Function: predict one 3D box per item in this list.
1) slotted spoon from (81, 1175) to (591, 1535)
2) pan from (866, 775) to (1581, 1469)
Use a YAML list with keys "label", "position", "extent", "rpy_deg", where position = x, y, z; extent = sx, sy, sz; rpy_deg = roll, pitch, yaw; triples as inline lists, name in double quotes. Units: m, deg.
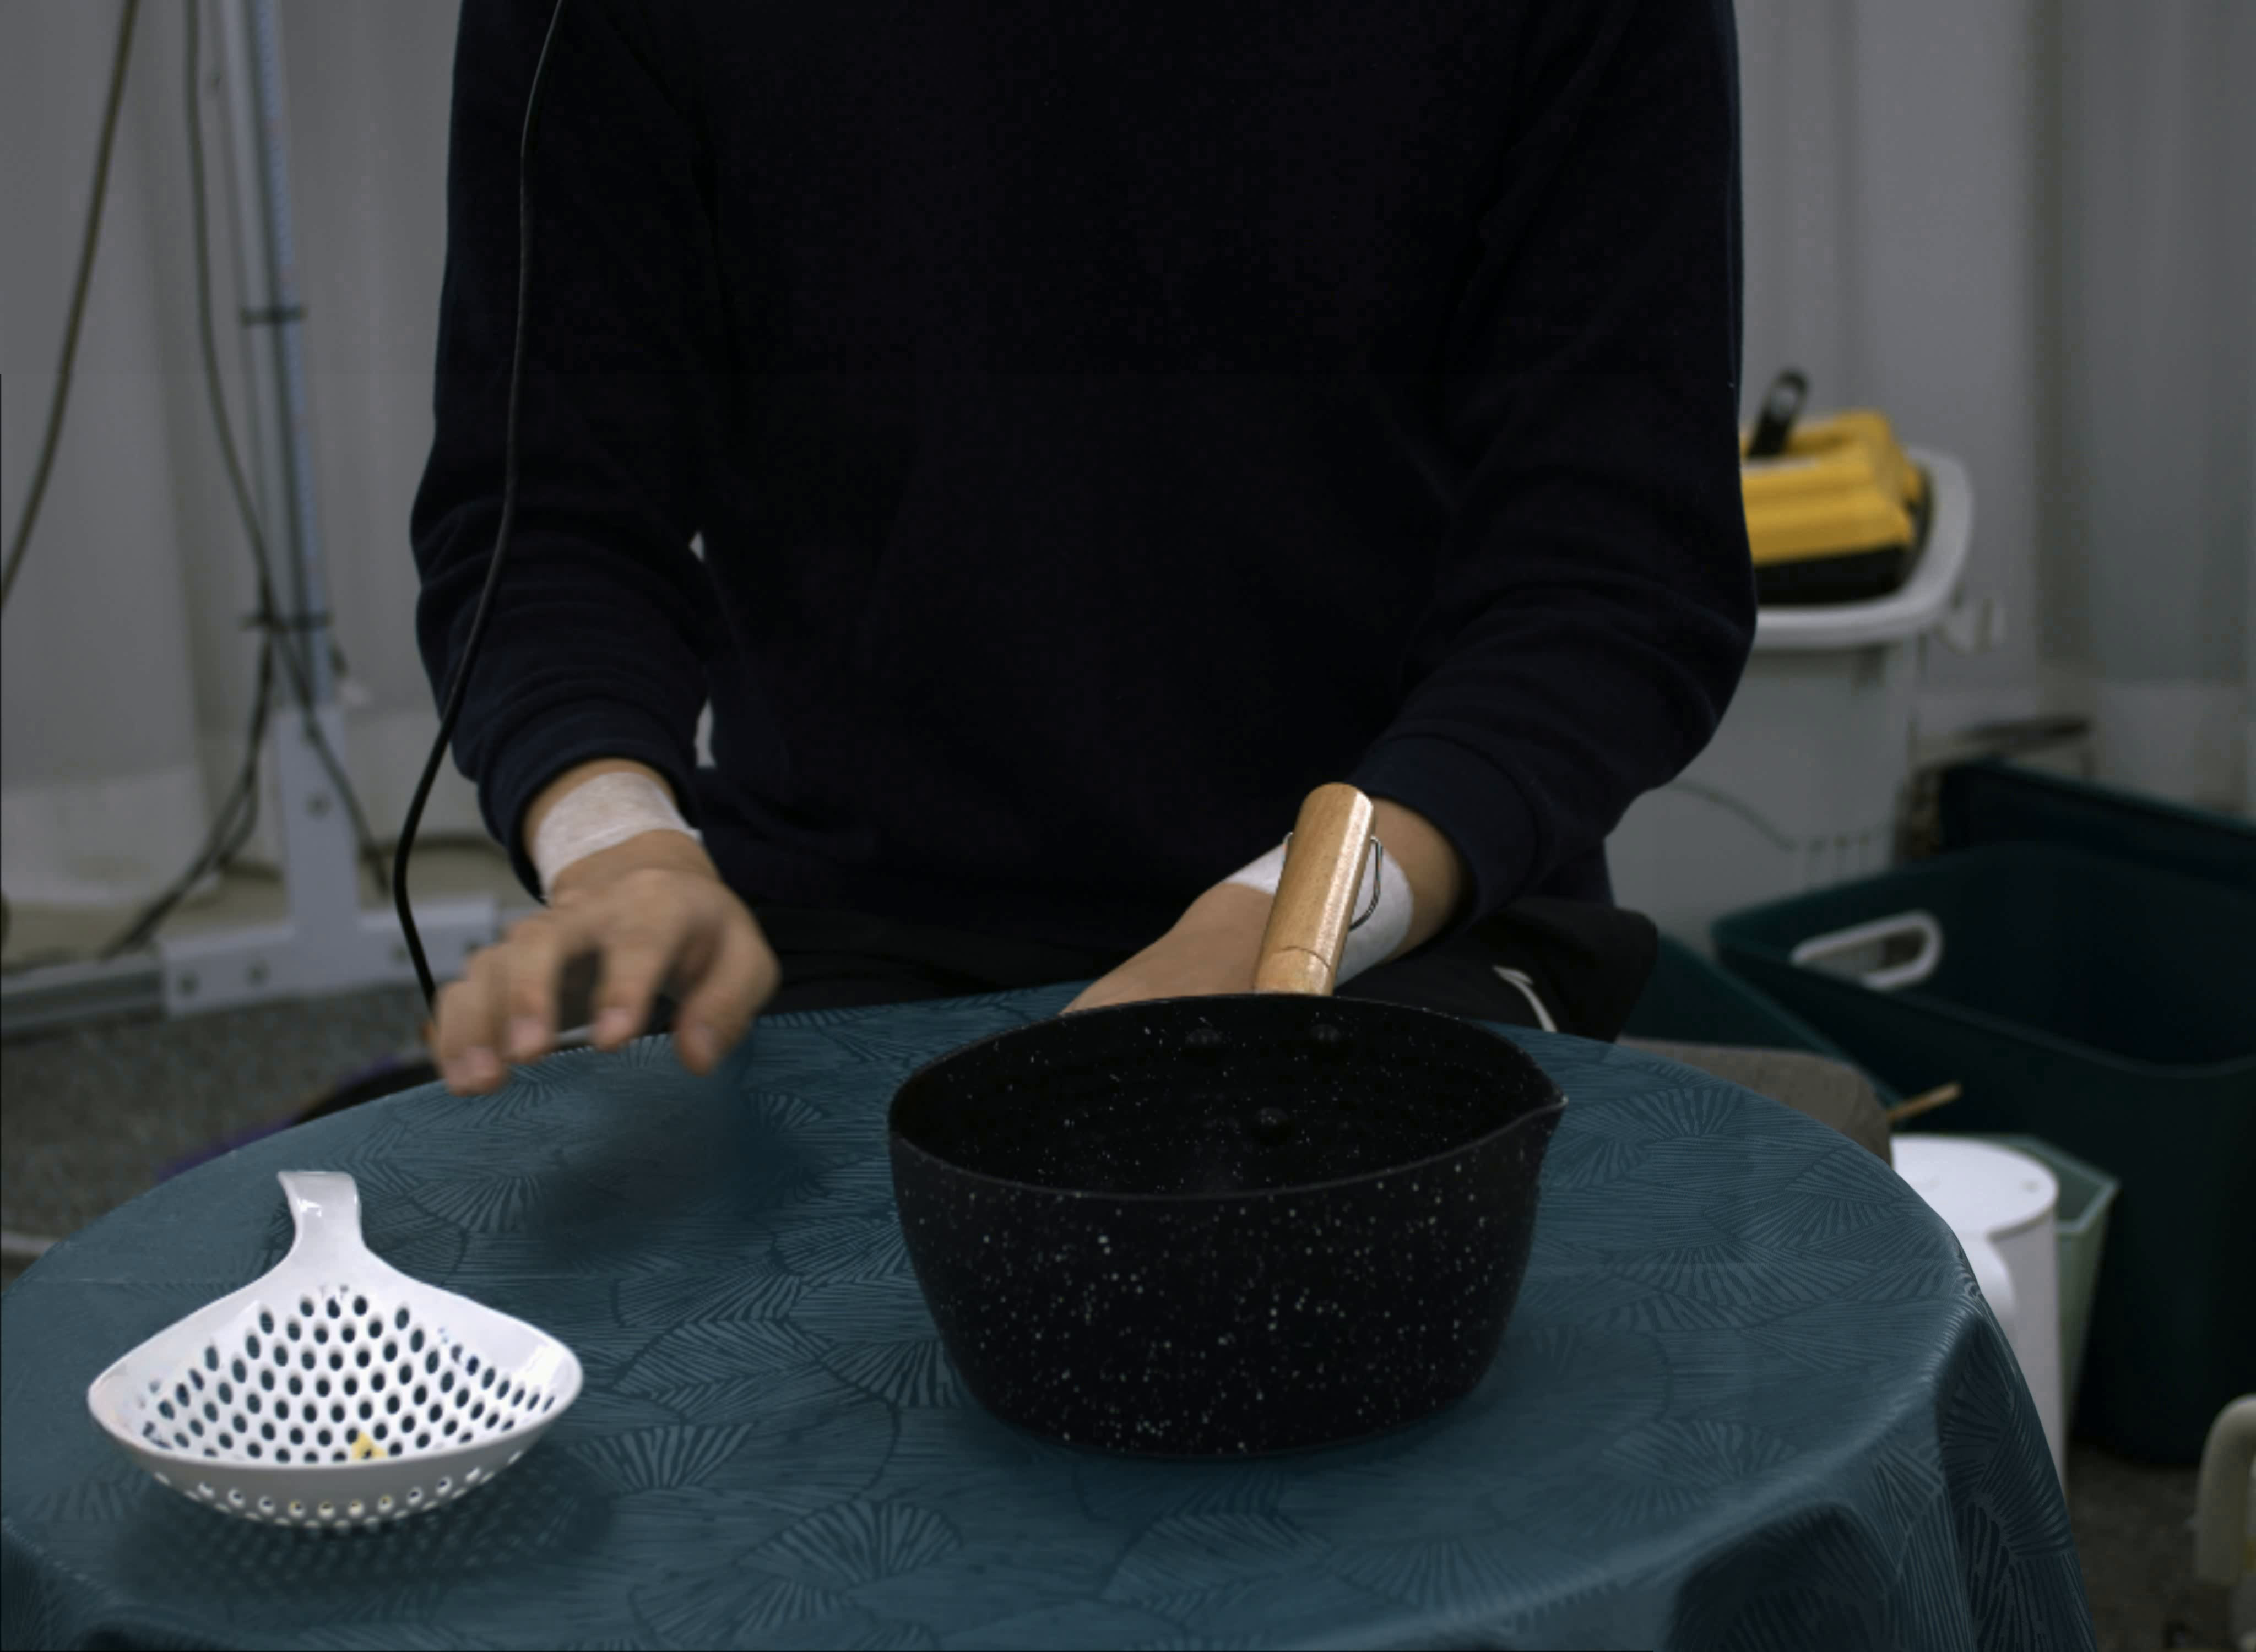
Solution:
- label: "slotted spoon"
  position: [-0.234, 0.139, 1.589]
  extent: [0.136, 0.050, 0.351]
  rpy_deg: [-4, 17, -10]
- label: "pan"
  position: [0.039, 0.082, 1.622]
  extent: [0.207, 0.108, 0.345]
  rpy_deg: [-1, 16, 10]
